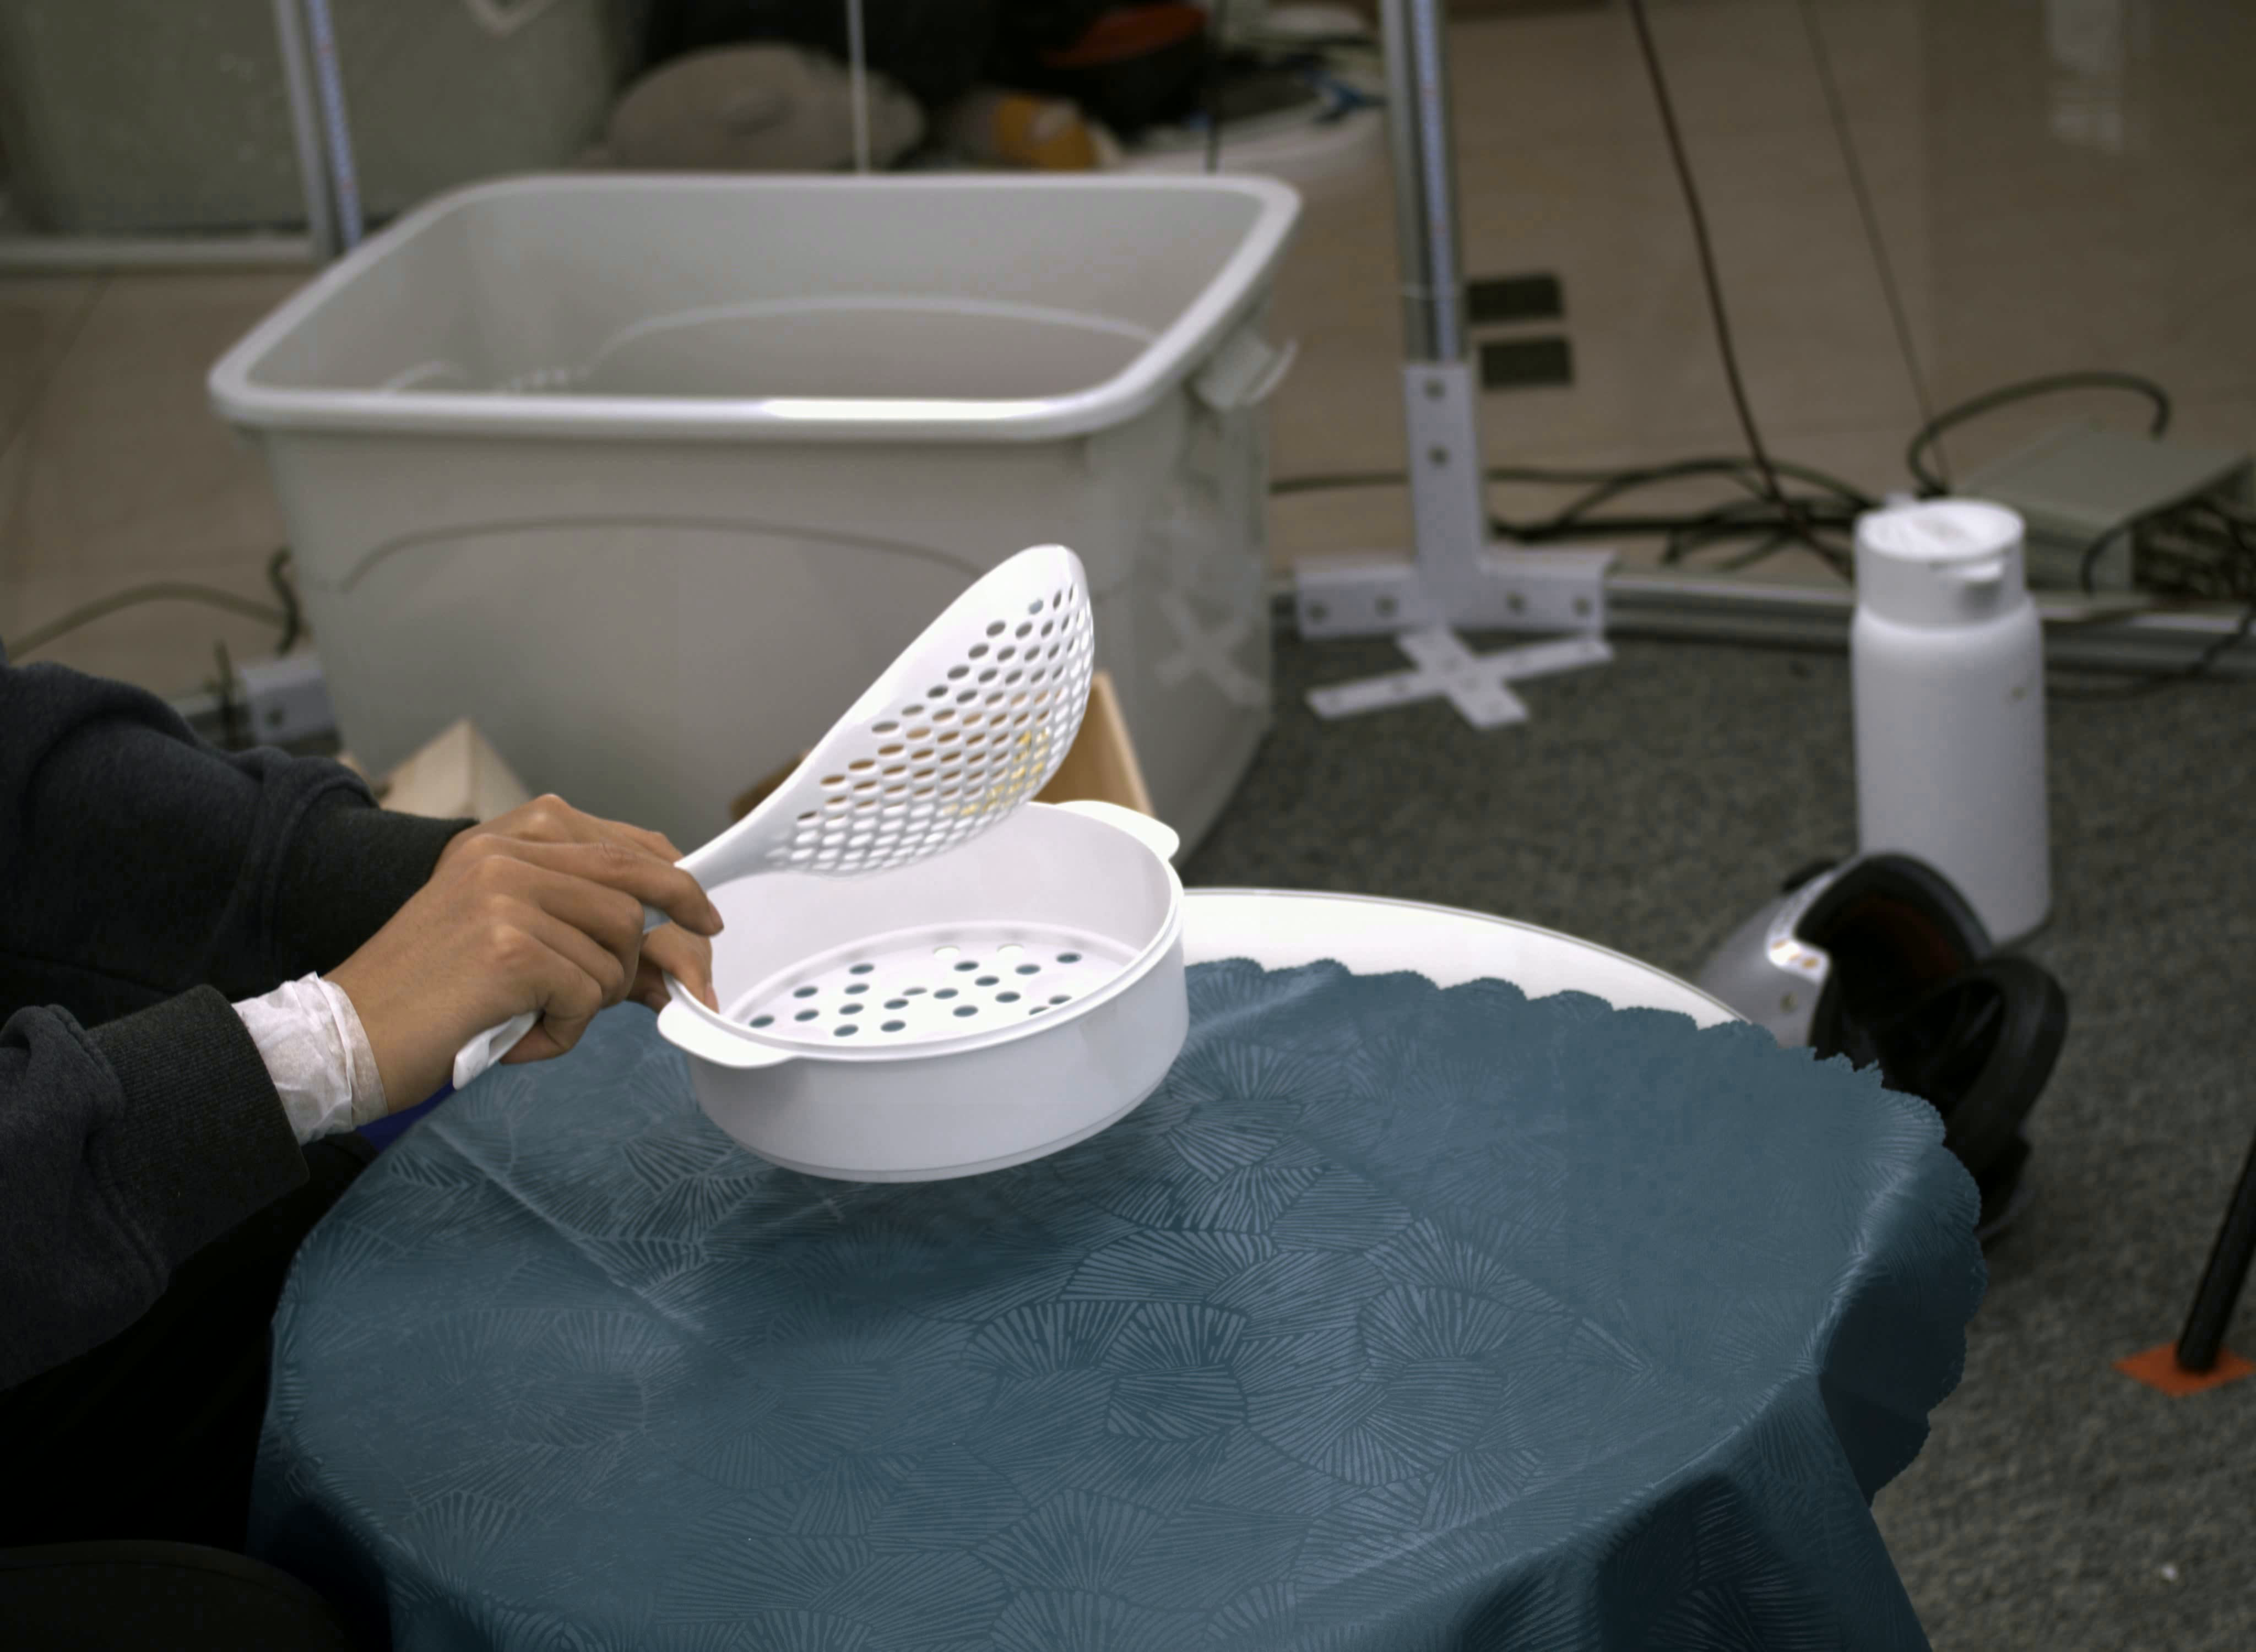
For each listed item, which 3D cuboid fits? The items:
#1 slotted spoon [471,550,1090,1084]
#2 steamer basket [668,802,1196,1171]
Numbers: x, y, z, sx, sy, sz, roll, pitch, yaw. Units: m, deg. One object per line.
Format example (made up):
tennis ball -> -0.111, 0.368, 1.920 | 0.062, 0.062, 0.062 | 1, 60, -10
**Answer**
slotted spoon -> -0.121, 0.010, 2.007 | 0.050, 0.139, 0.345 | 41, 46, 22
steamer basket -> -0.071, 0.062, 2.172 | 0.229, 0.070, 0.200 | -26, 32, -35
